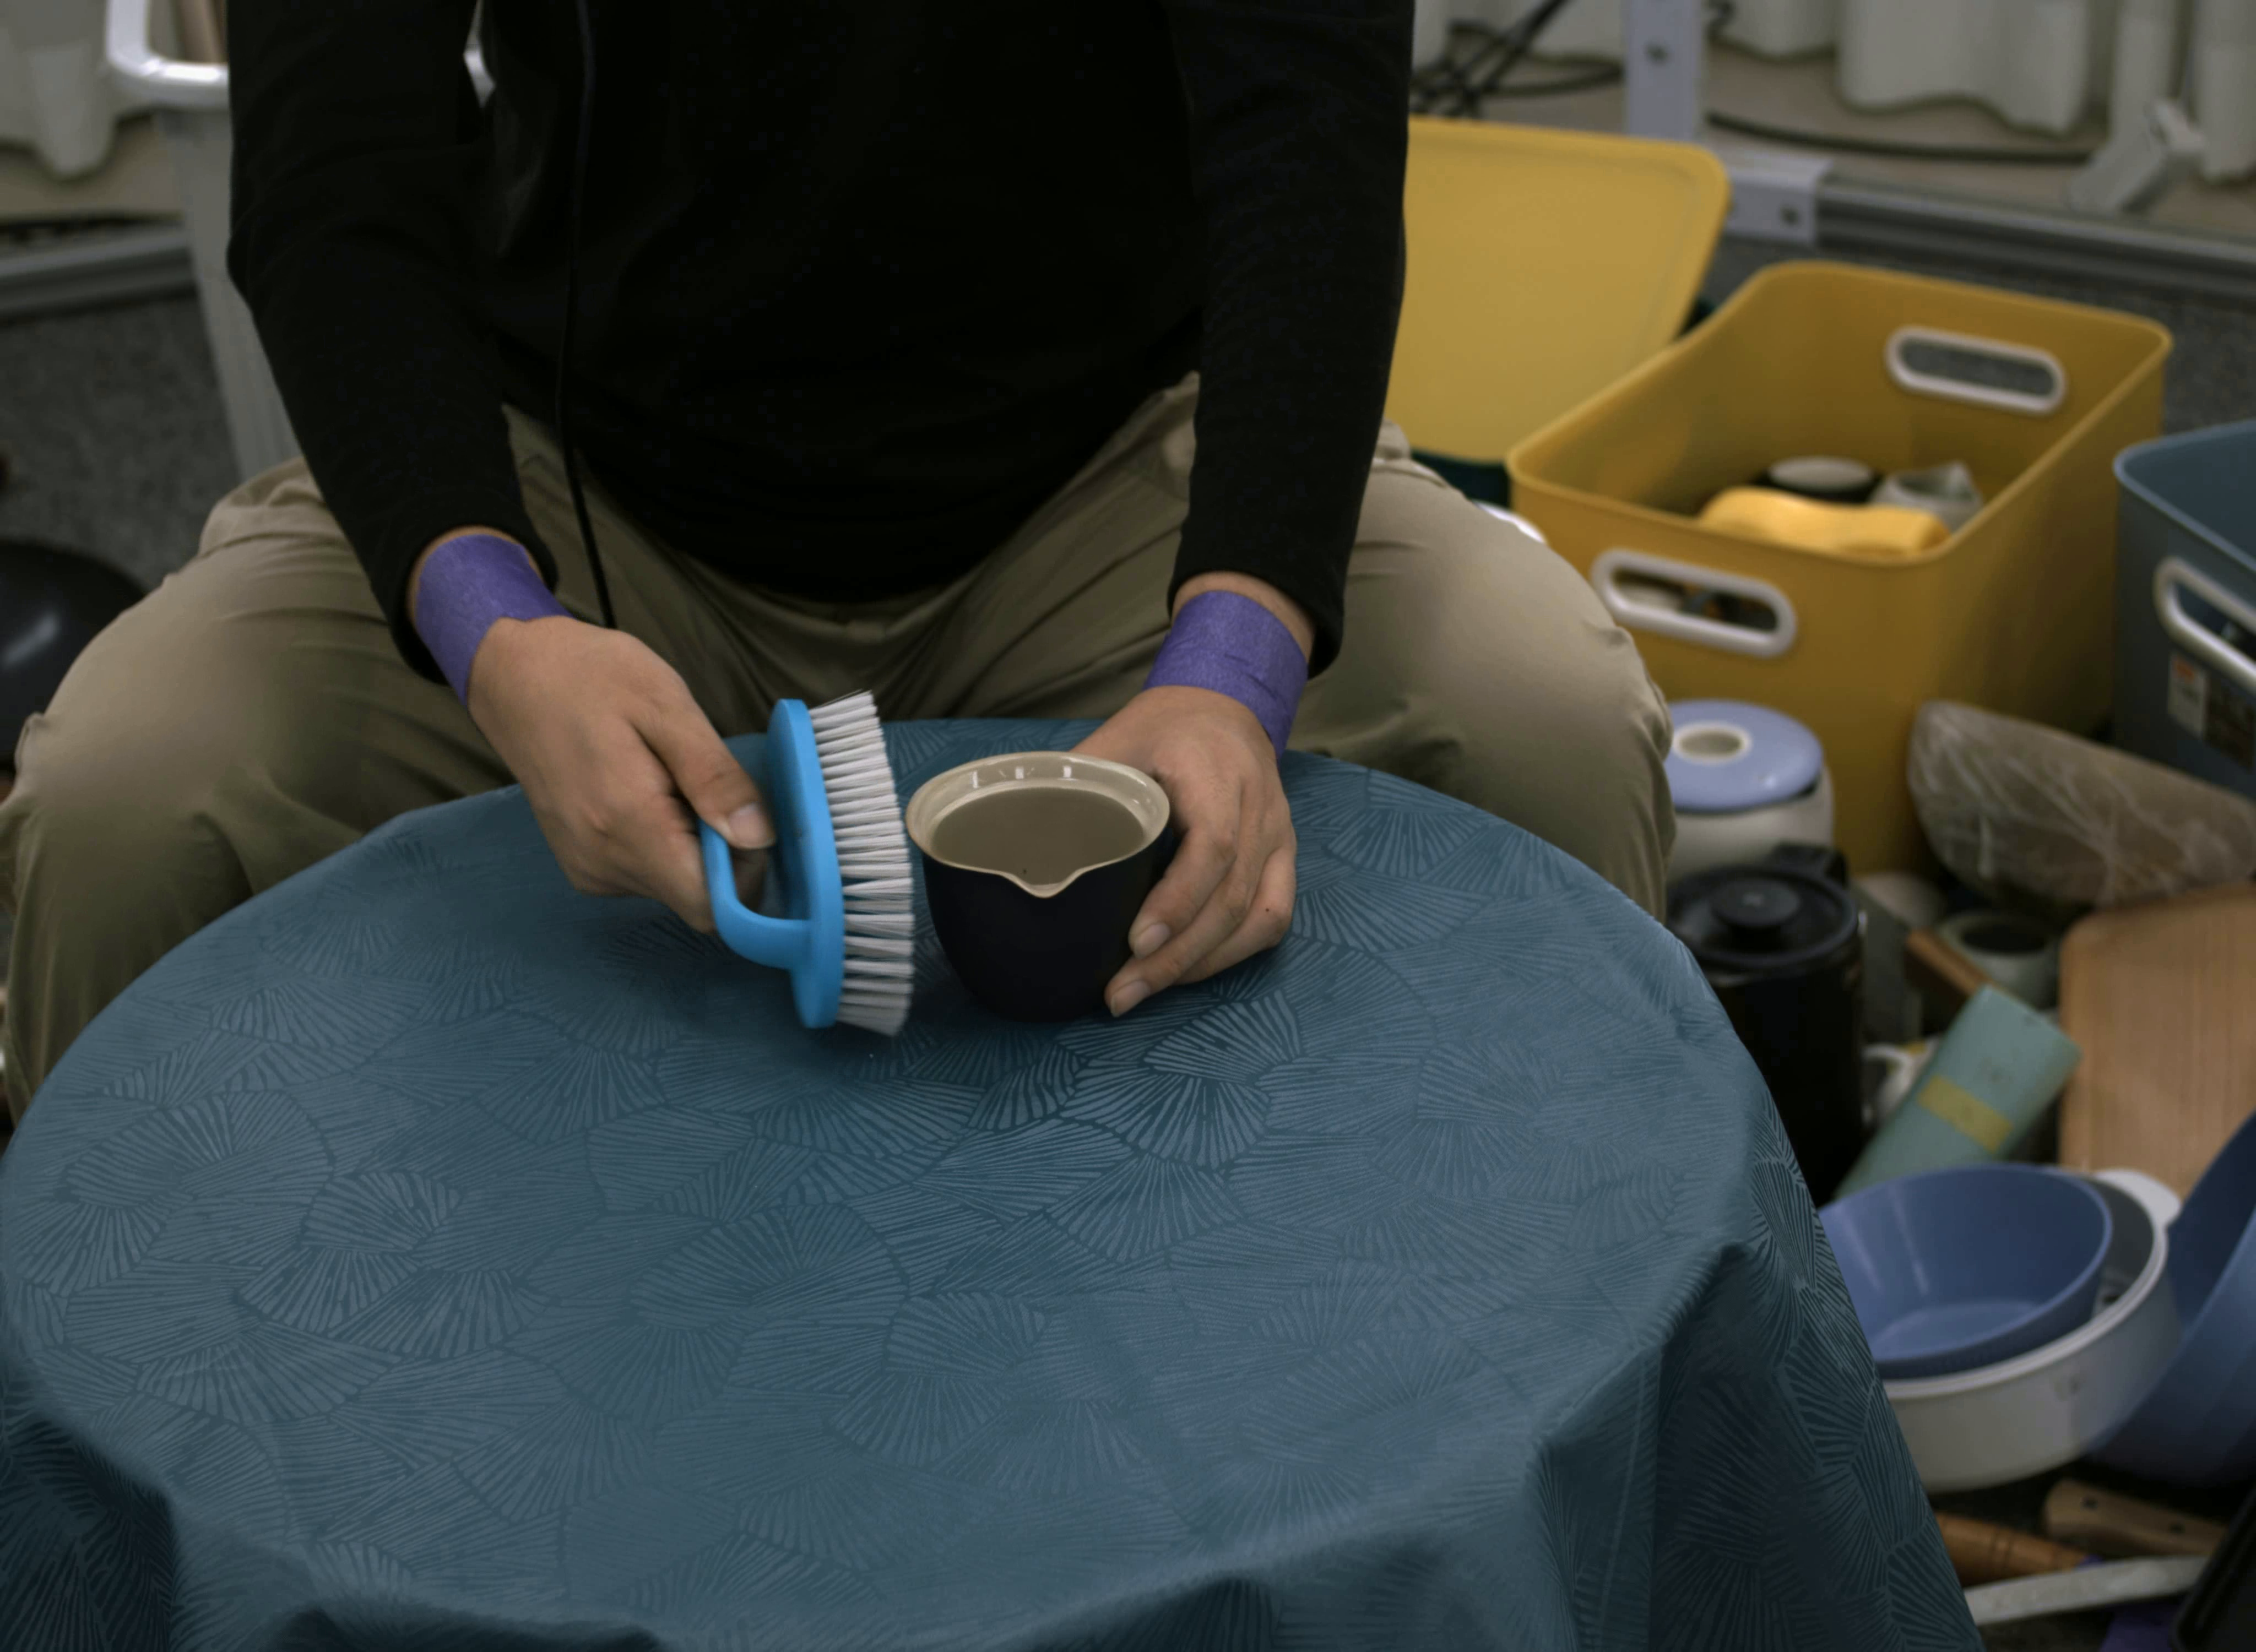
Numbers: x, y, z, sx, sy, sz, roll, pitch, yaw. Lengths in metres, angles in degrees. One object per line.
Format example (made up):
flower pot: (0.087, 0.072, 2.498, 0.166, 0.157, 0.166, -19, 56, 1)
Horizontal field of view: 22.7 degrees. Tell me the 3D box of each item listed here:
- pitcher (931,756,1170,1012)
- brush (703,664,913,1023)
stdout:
pitcher: (-0.027, 0.025, 1.969, 0.083, 0.070, 0.097, 1, 29, 2)
brush: (-0.115, 0.010, 1.972, 0.063, 0.083, 0.144, -5, 46, -8)
